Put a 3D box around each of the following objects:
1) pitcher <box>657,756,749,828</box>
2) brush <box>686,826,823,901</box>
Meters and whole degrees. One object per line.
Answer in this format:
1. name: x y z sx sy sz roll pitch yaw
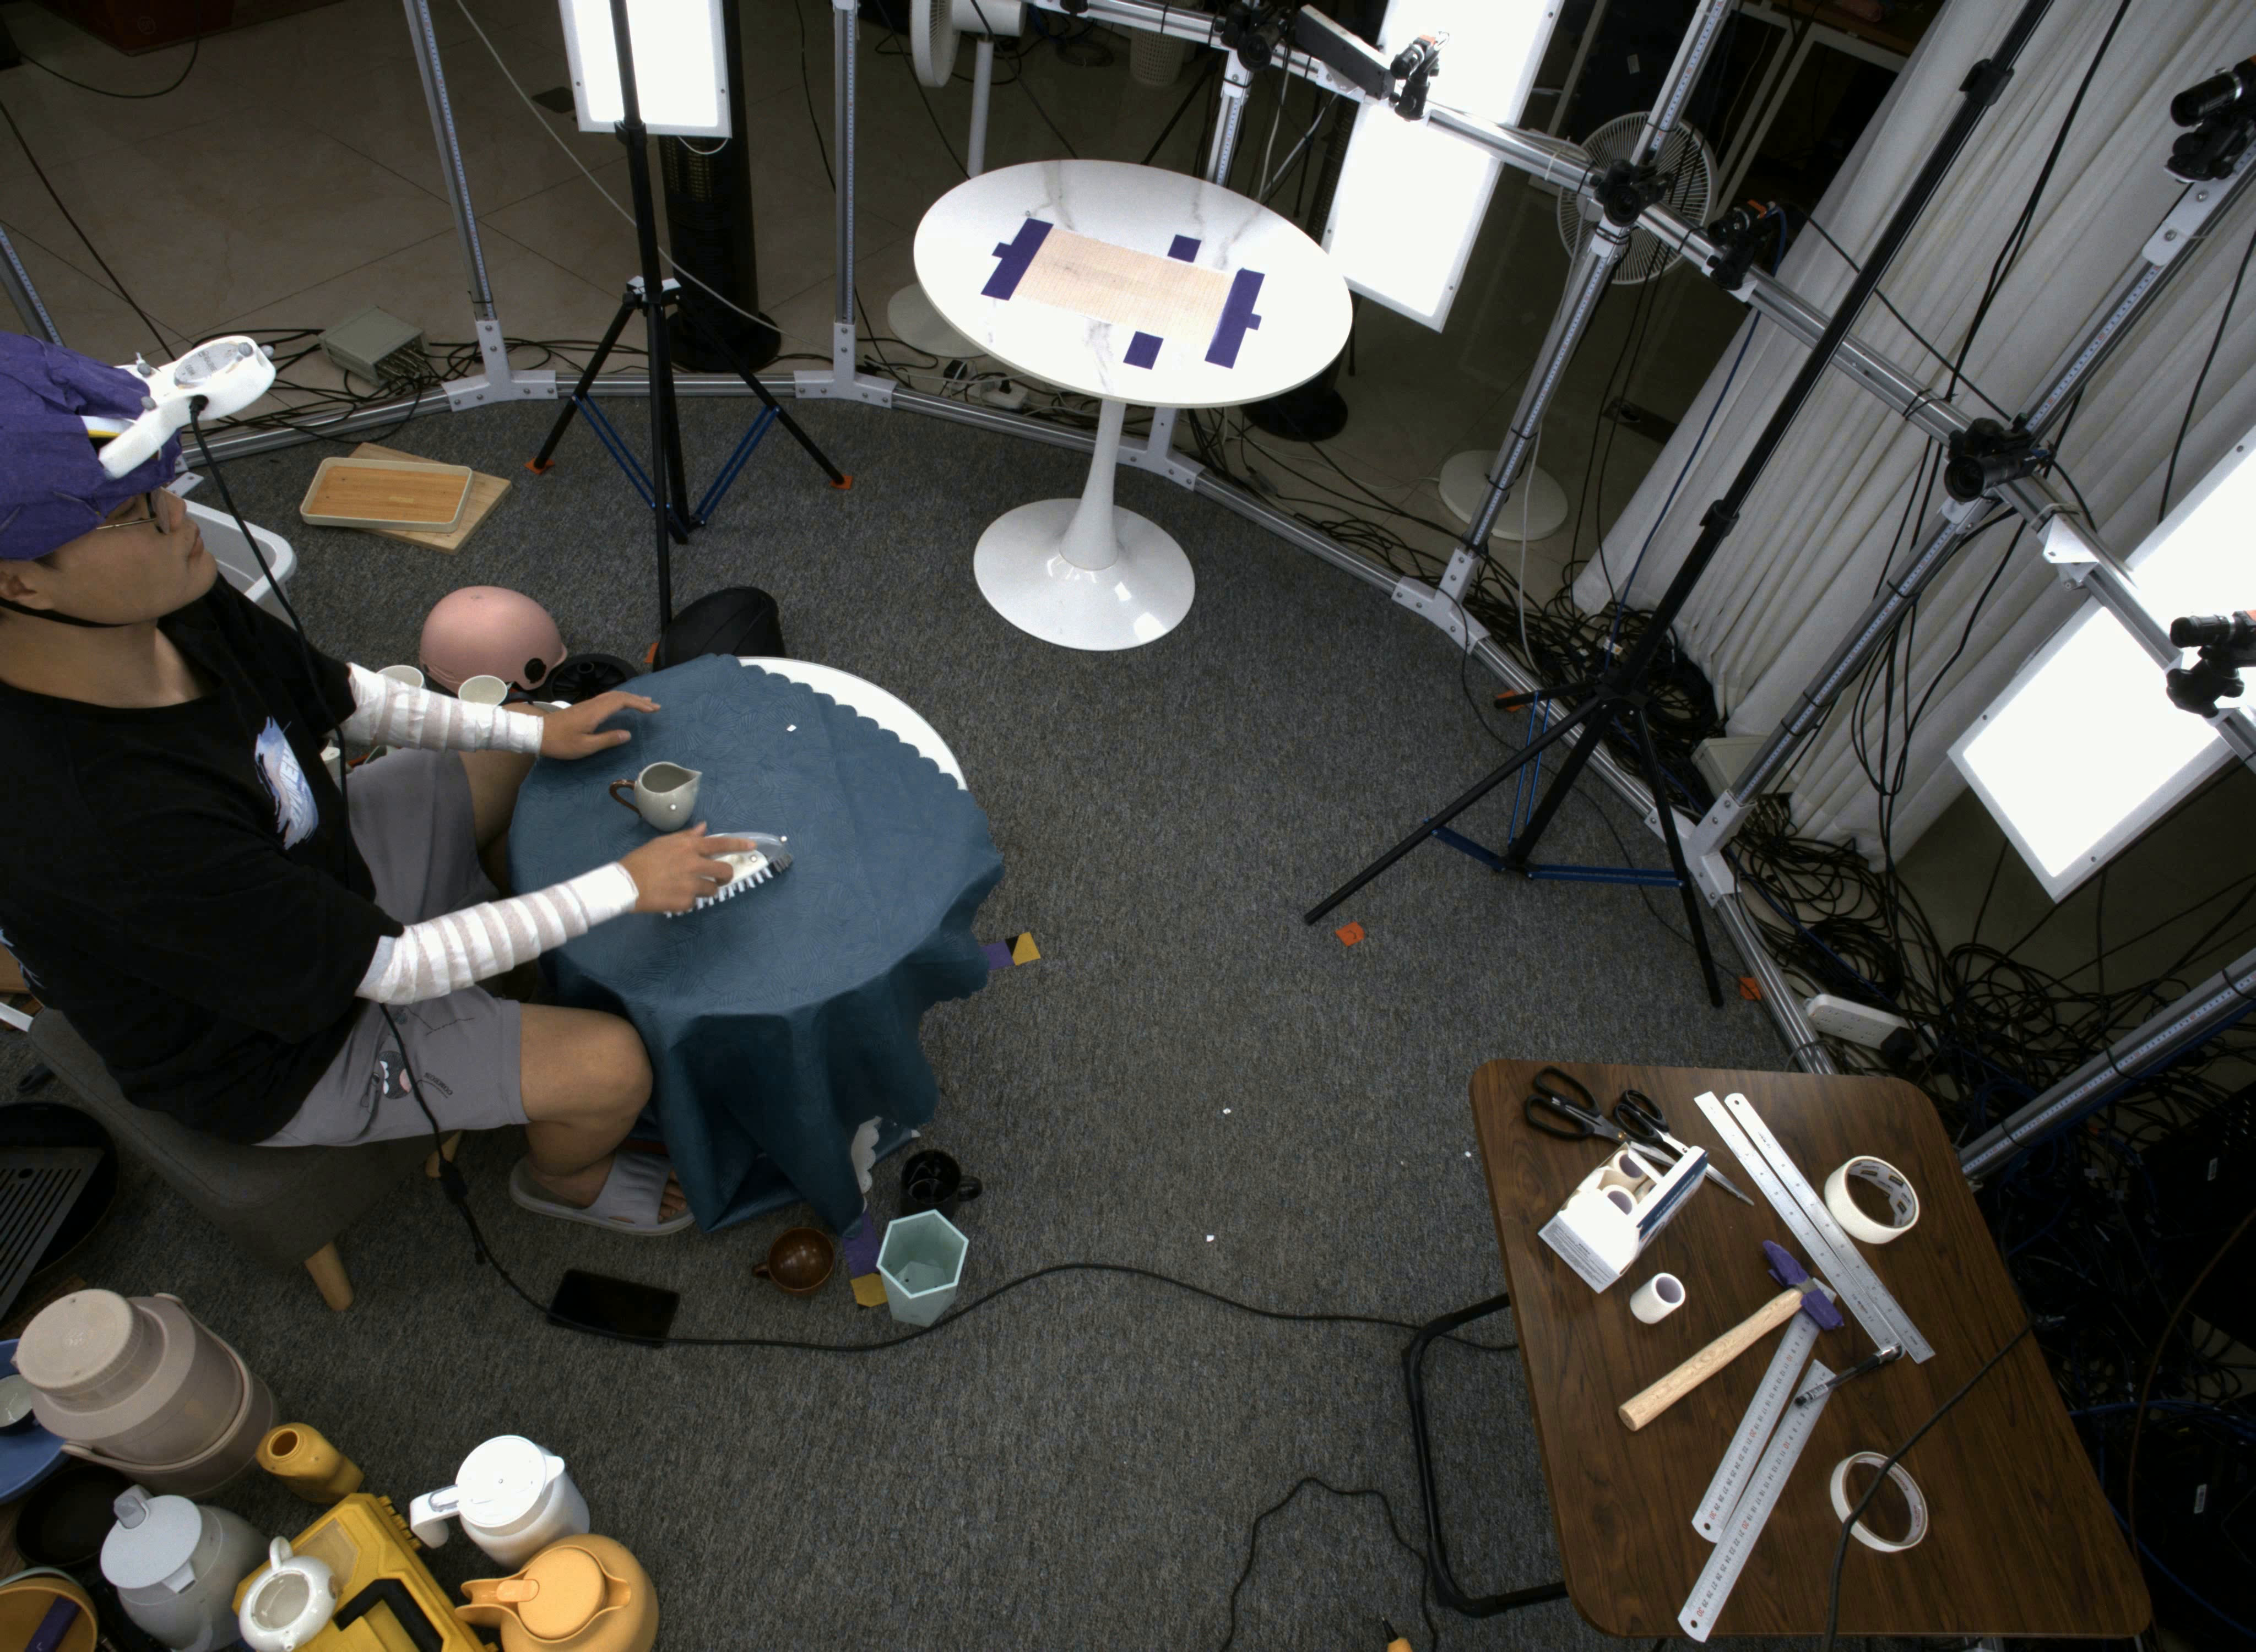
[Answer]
1. pitcher: -0.552 -0.045 1.680 0.119 0.090 0.074 2 49 -13
2. brush: -0.470 0.032 1.638 0.177 0.096 0.060 -12 57 -26
